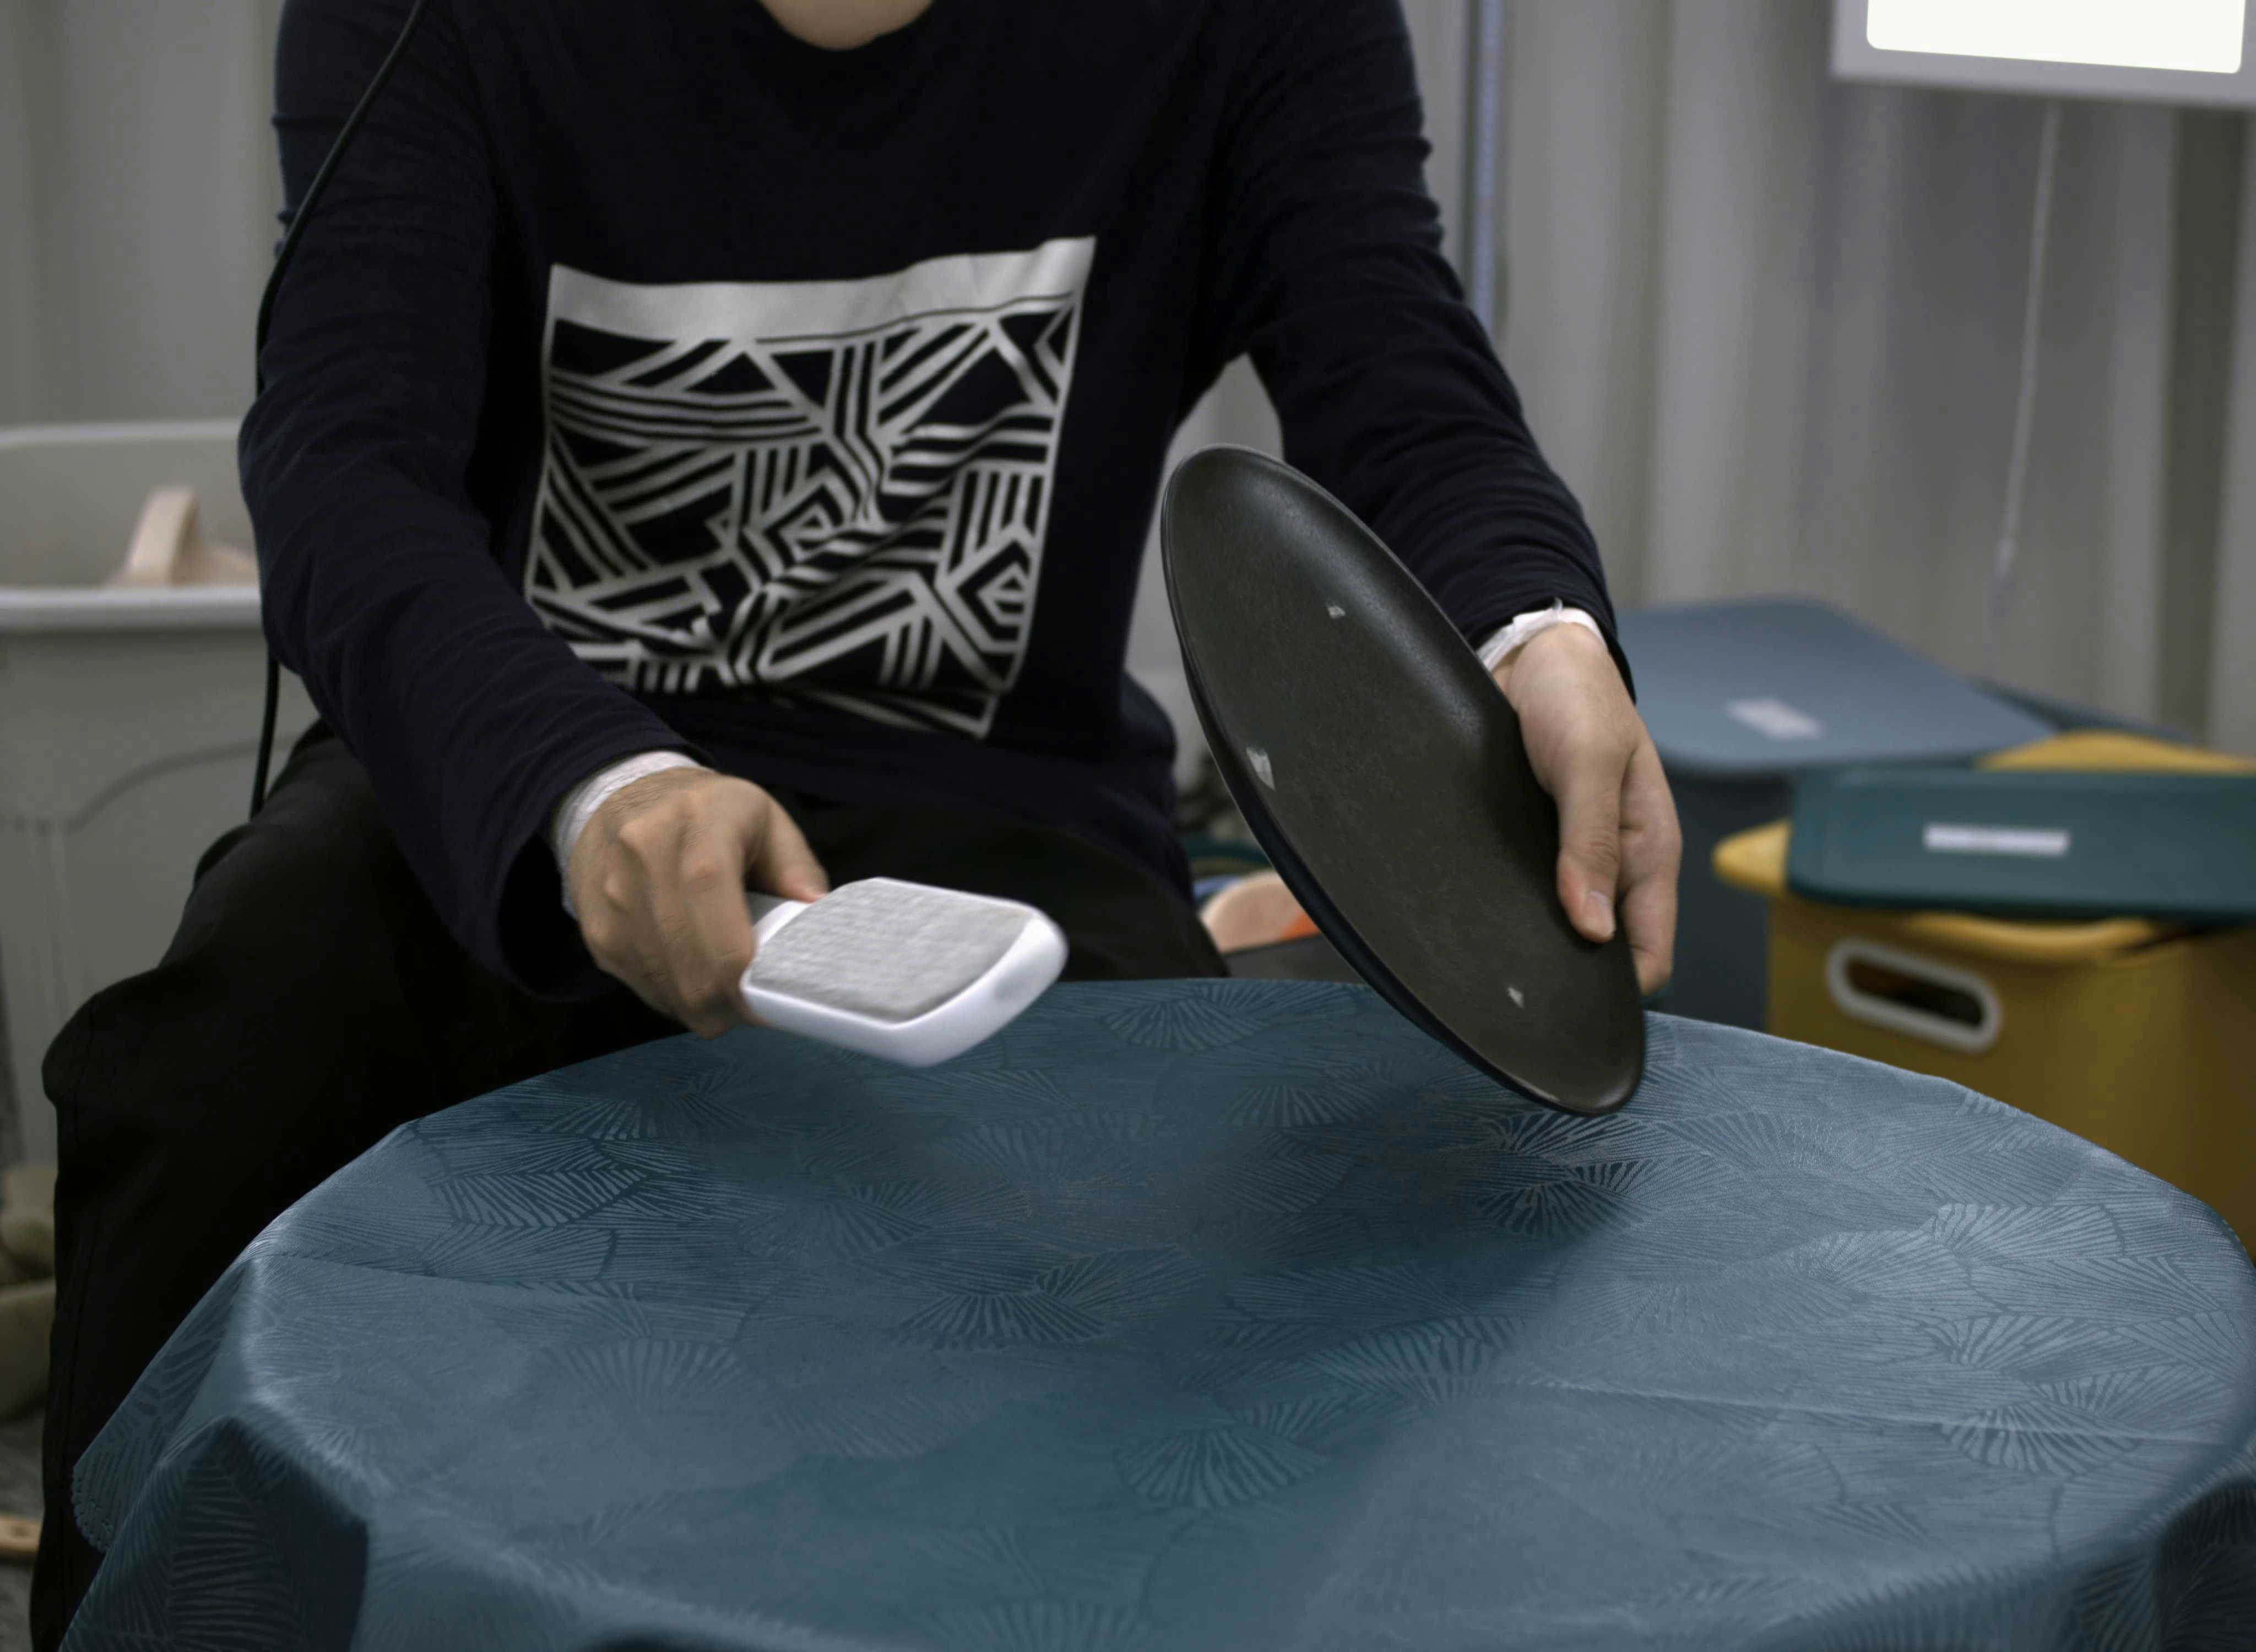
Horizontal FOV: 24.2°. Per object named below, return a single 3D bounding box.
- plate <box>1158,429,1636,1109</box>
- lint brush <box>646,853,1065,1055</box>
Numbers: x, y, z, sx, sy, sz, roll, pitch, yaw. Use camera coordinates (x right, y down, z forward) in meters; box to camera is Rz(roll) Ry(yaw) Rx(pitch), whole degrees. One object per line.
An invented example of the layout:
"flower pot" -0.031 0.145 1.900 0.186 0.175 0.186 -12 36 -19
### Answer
"plate" 0.078 -0.015 1.633 0.023 0.245 0.244 -32 4 22
"lint brush" -0.089 0.032 1.571 0.060 0.021 0.306 -45 18 -14
